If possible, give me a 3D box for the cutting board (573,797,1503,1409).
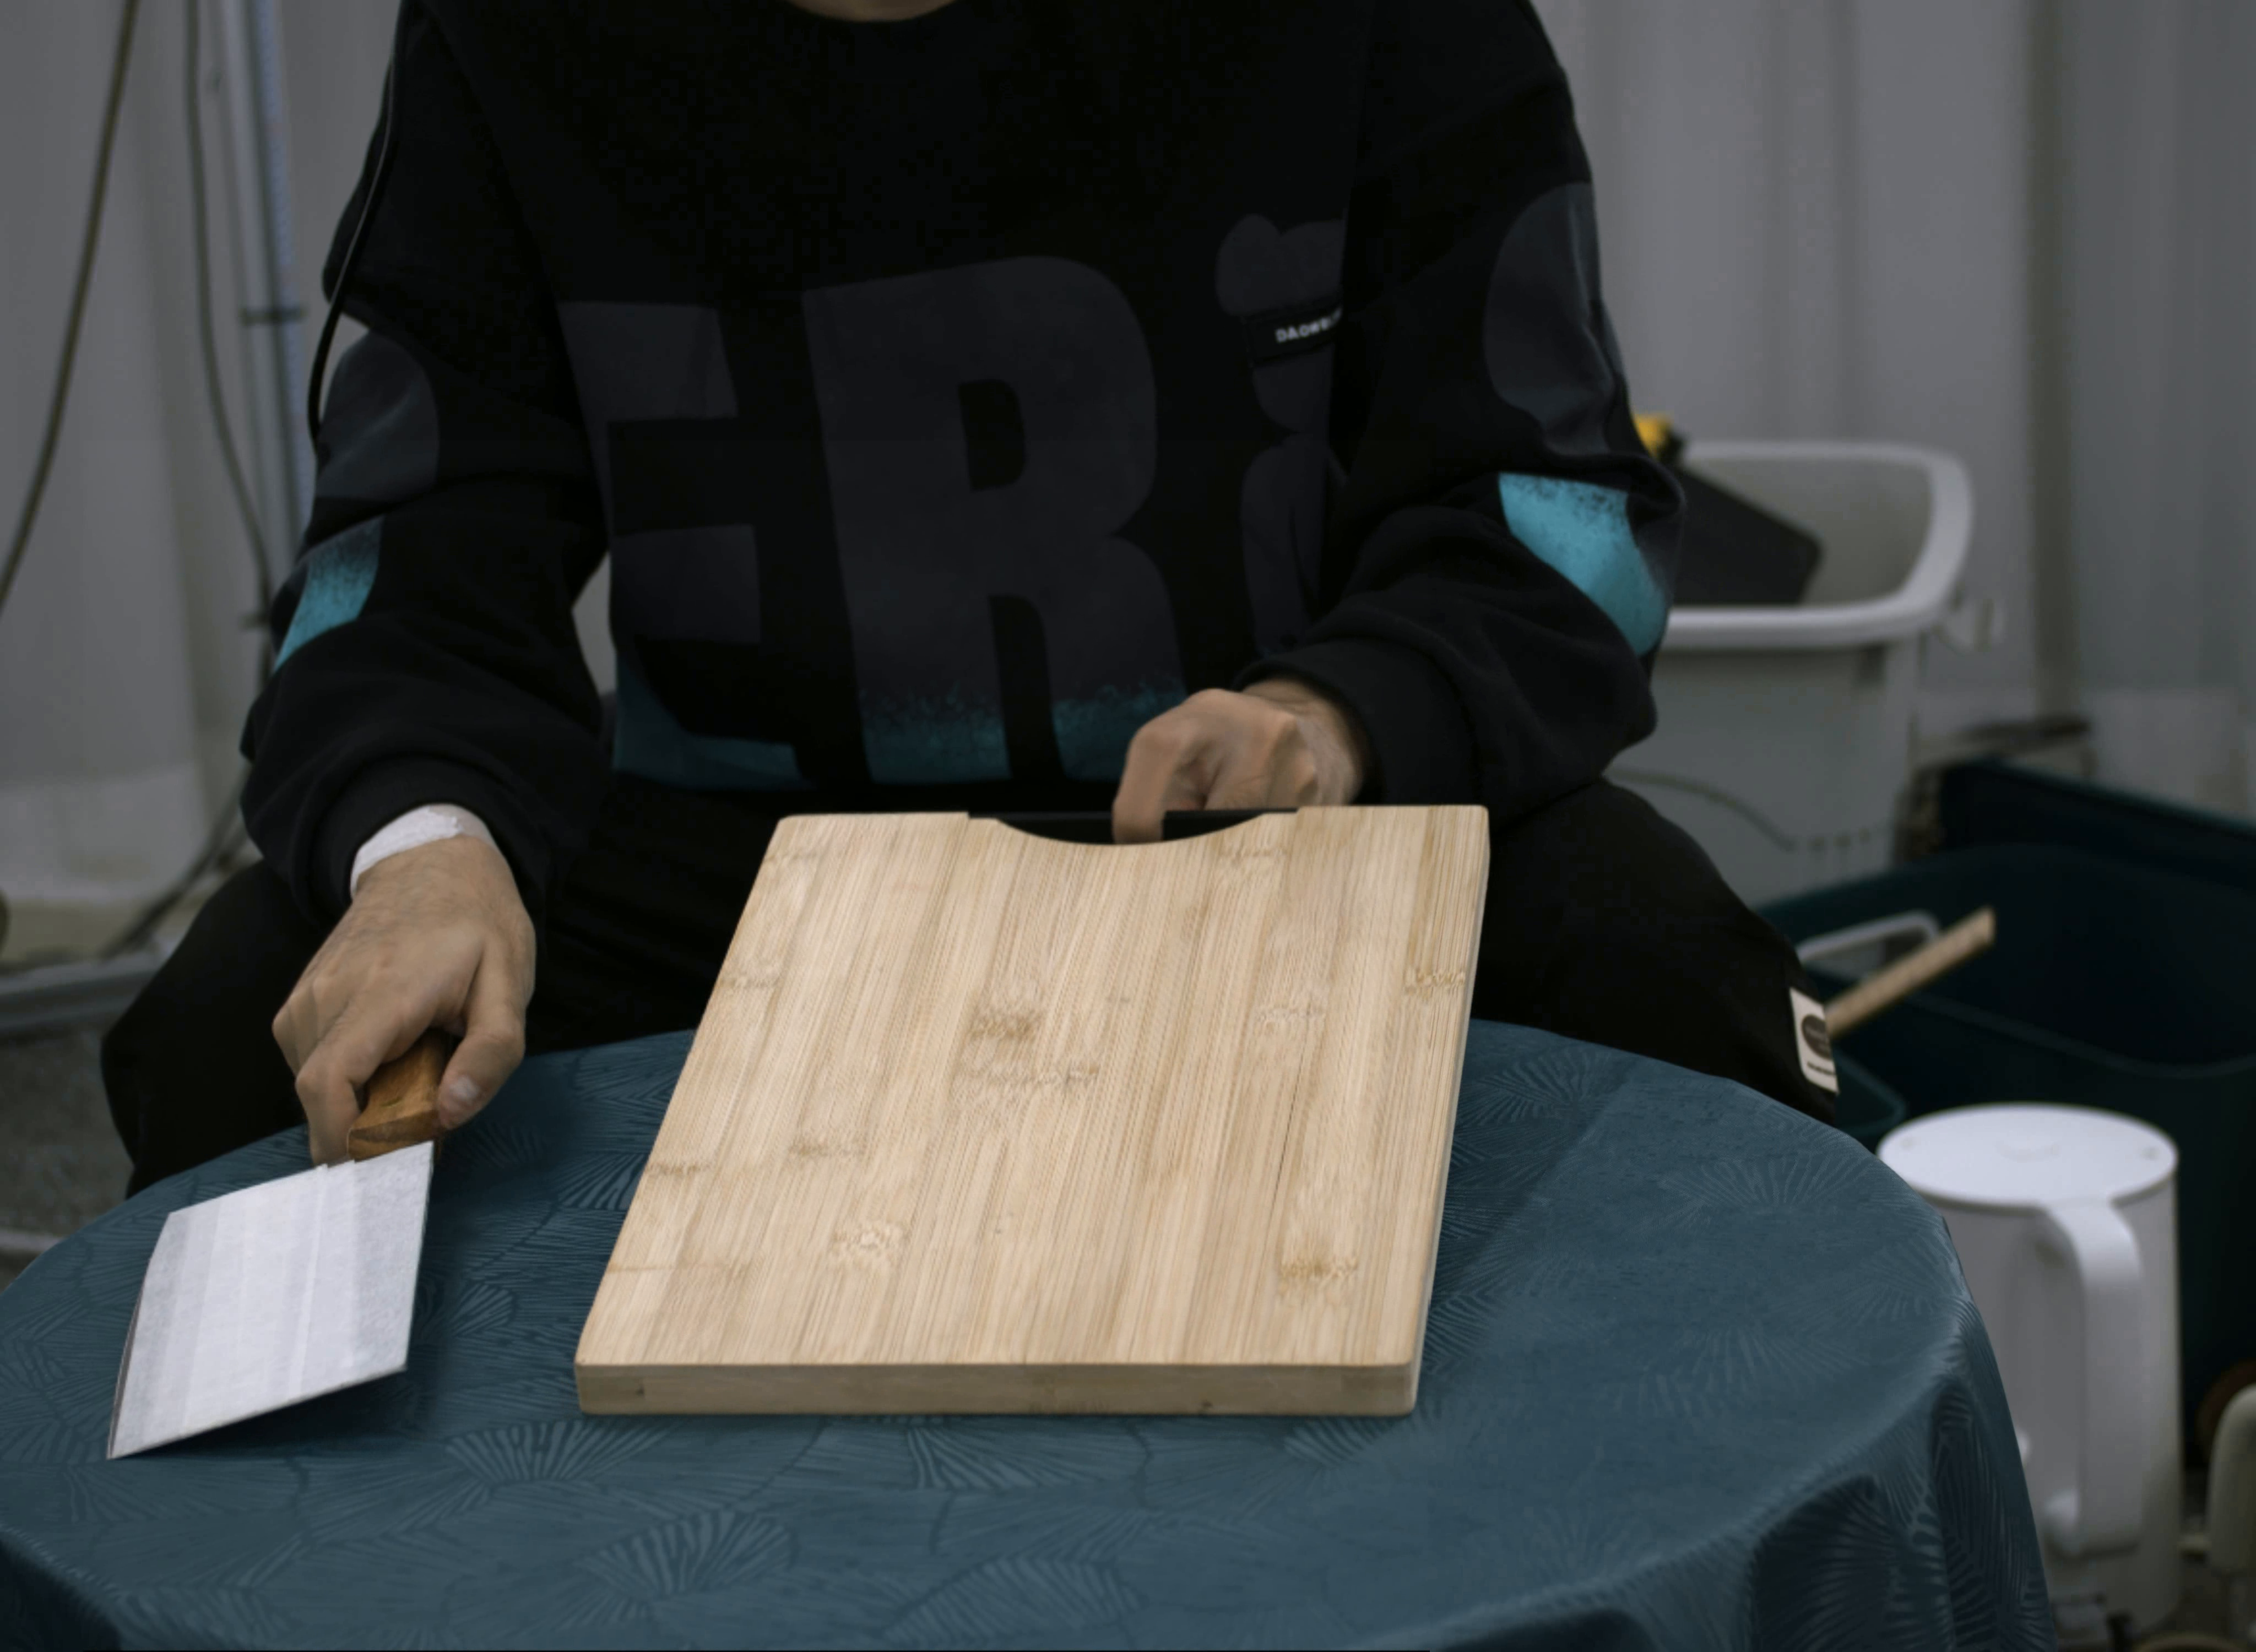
[{"bbox_3d":[-0.017,0.079,1.684,0.250,0.023,0.352,-1,27,7],"label":"cutting board"}]

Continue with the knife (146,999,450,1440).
[{"bbox_3d":[-0.255,0.120,1.680,0.092,0.021,0.308,-17,18,1],"label":"knife"}]
